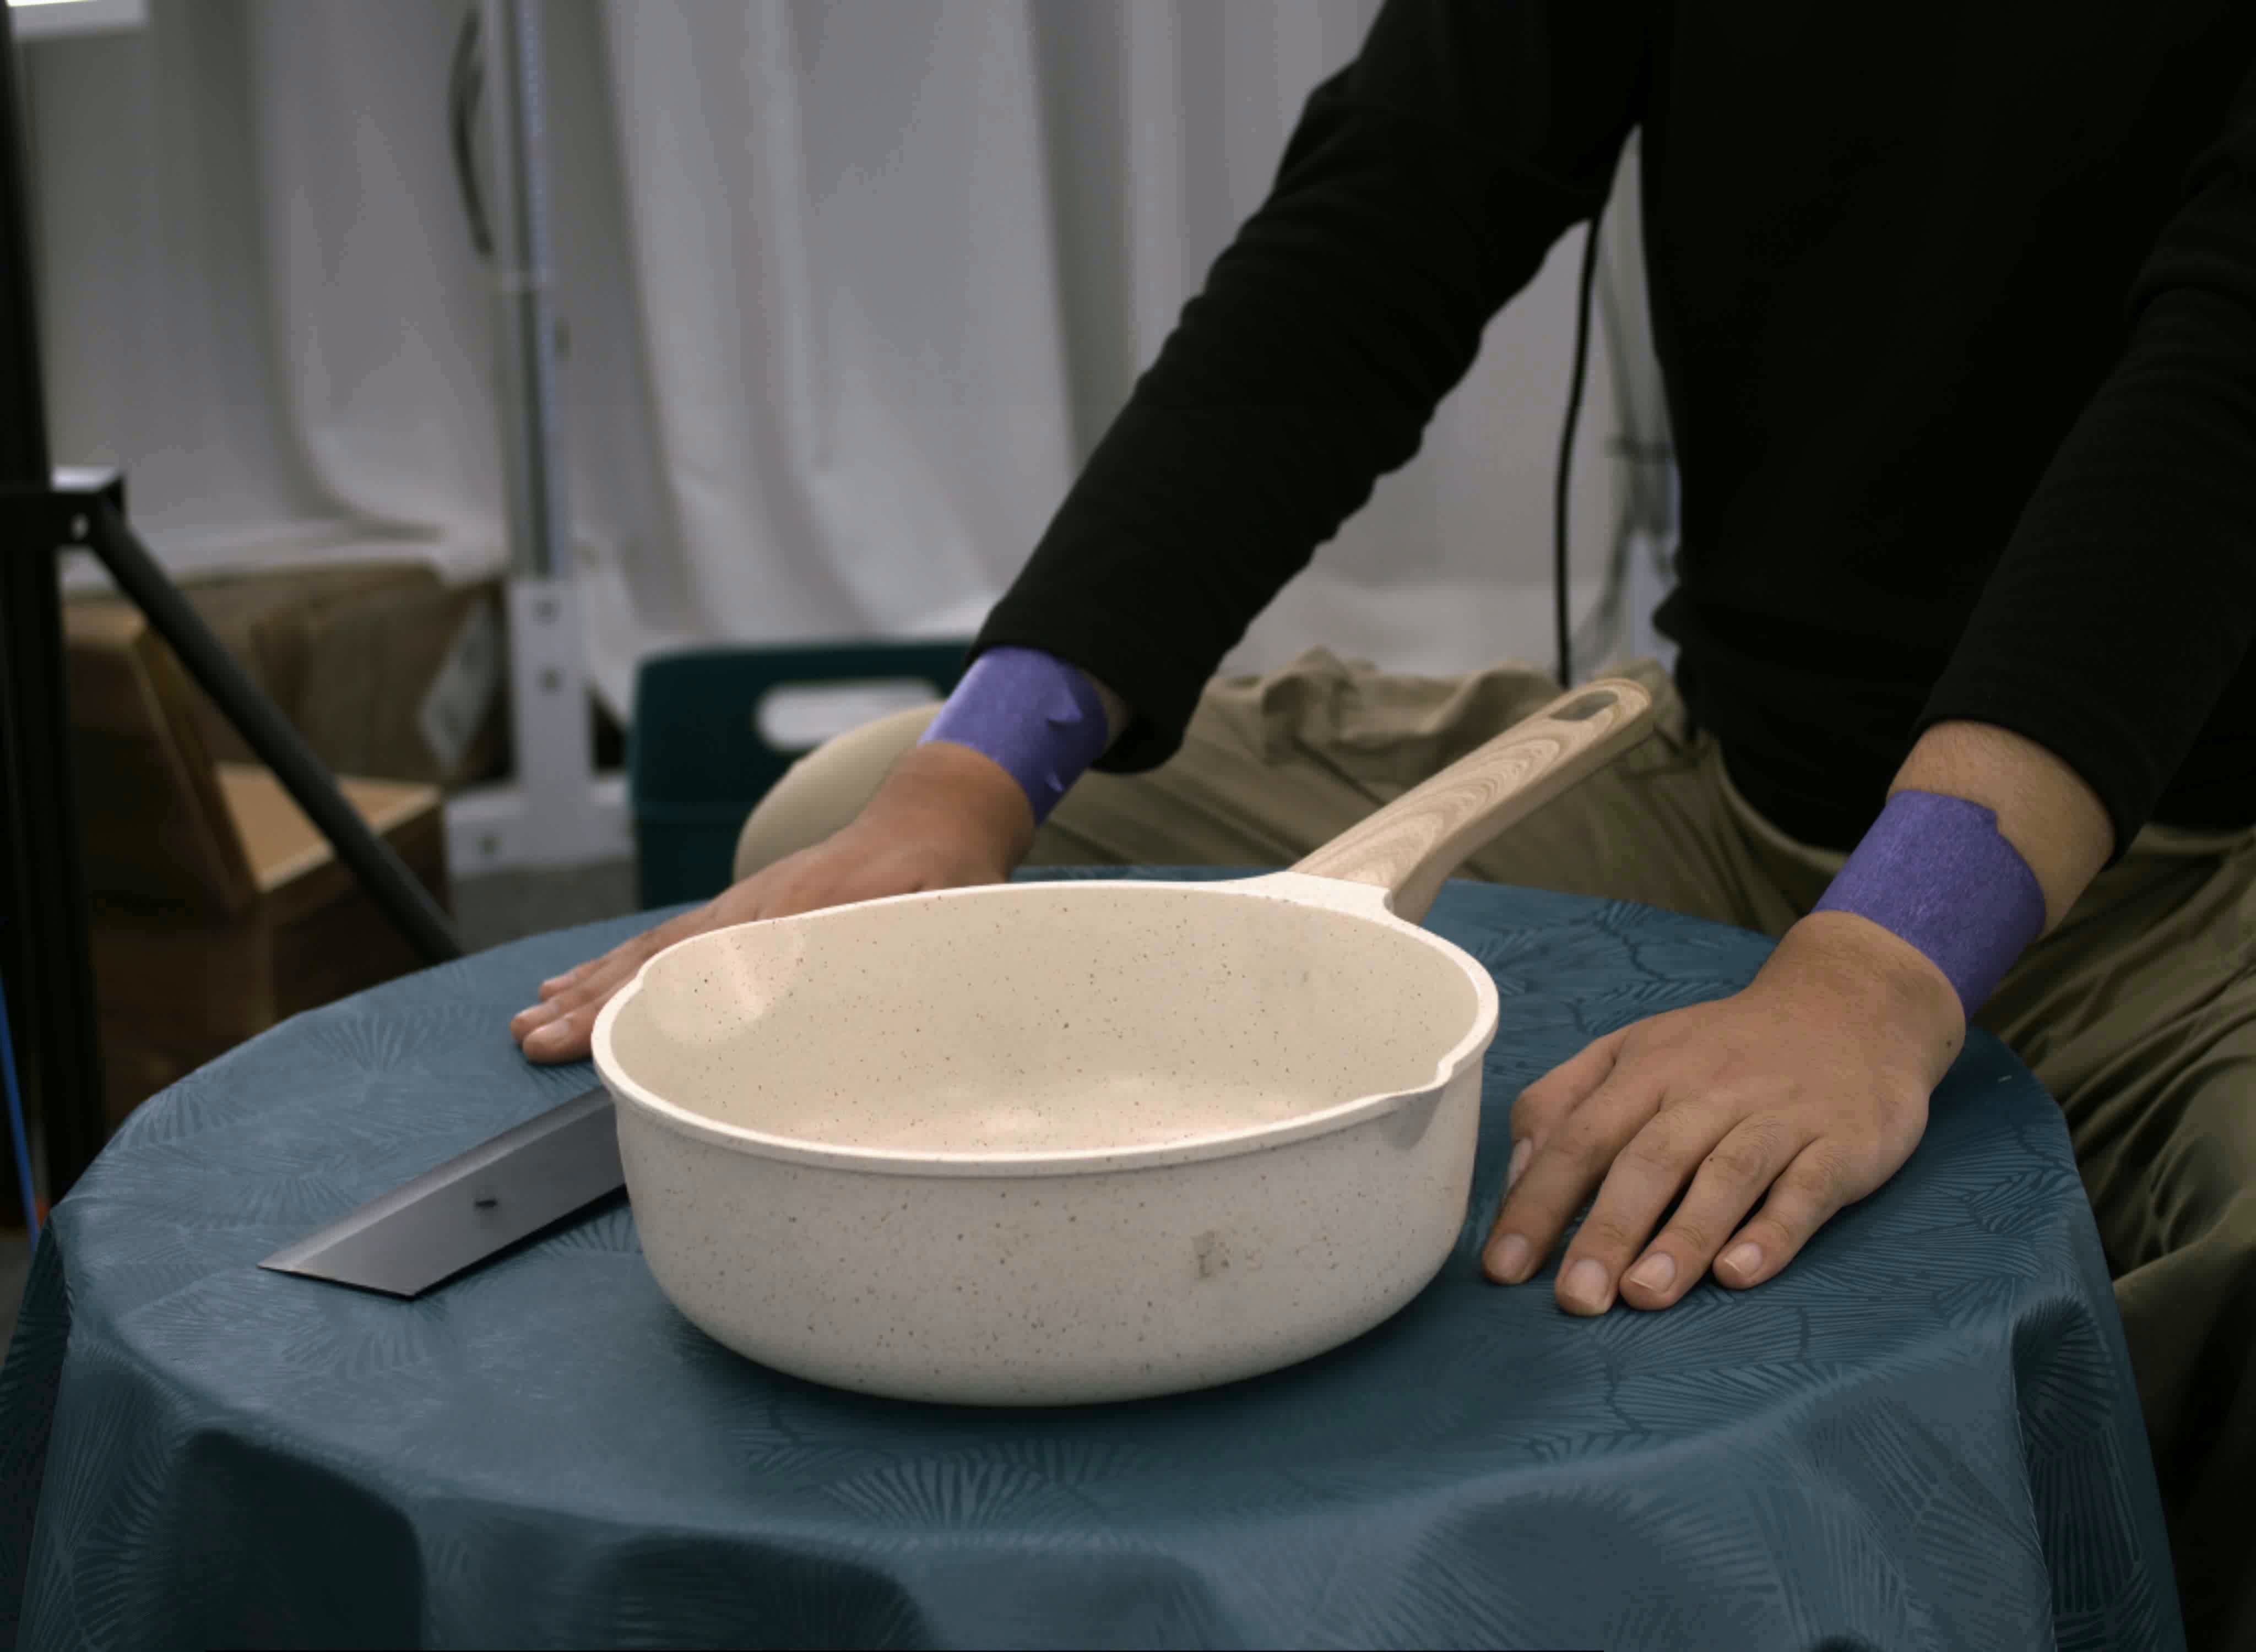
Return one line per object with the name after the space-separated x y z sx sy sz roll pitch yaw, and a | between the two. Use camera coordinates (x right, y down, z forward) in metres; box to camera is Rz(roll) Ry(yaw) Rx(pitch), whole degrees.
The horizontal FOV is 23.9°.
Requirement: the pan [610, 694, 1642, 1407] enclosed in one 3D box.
0.037 0.060 1.538 0.269 0.102 0.426 7 18 36 | pan

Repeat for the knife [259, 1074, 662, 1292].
-0.140 0.088 1.624 0.082 0.021 0.296 9 22 39 | knife
